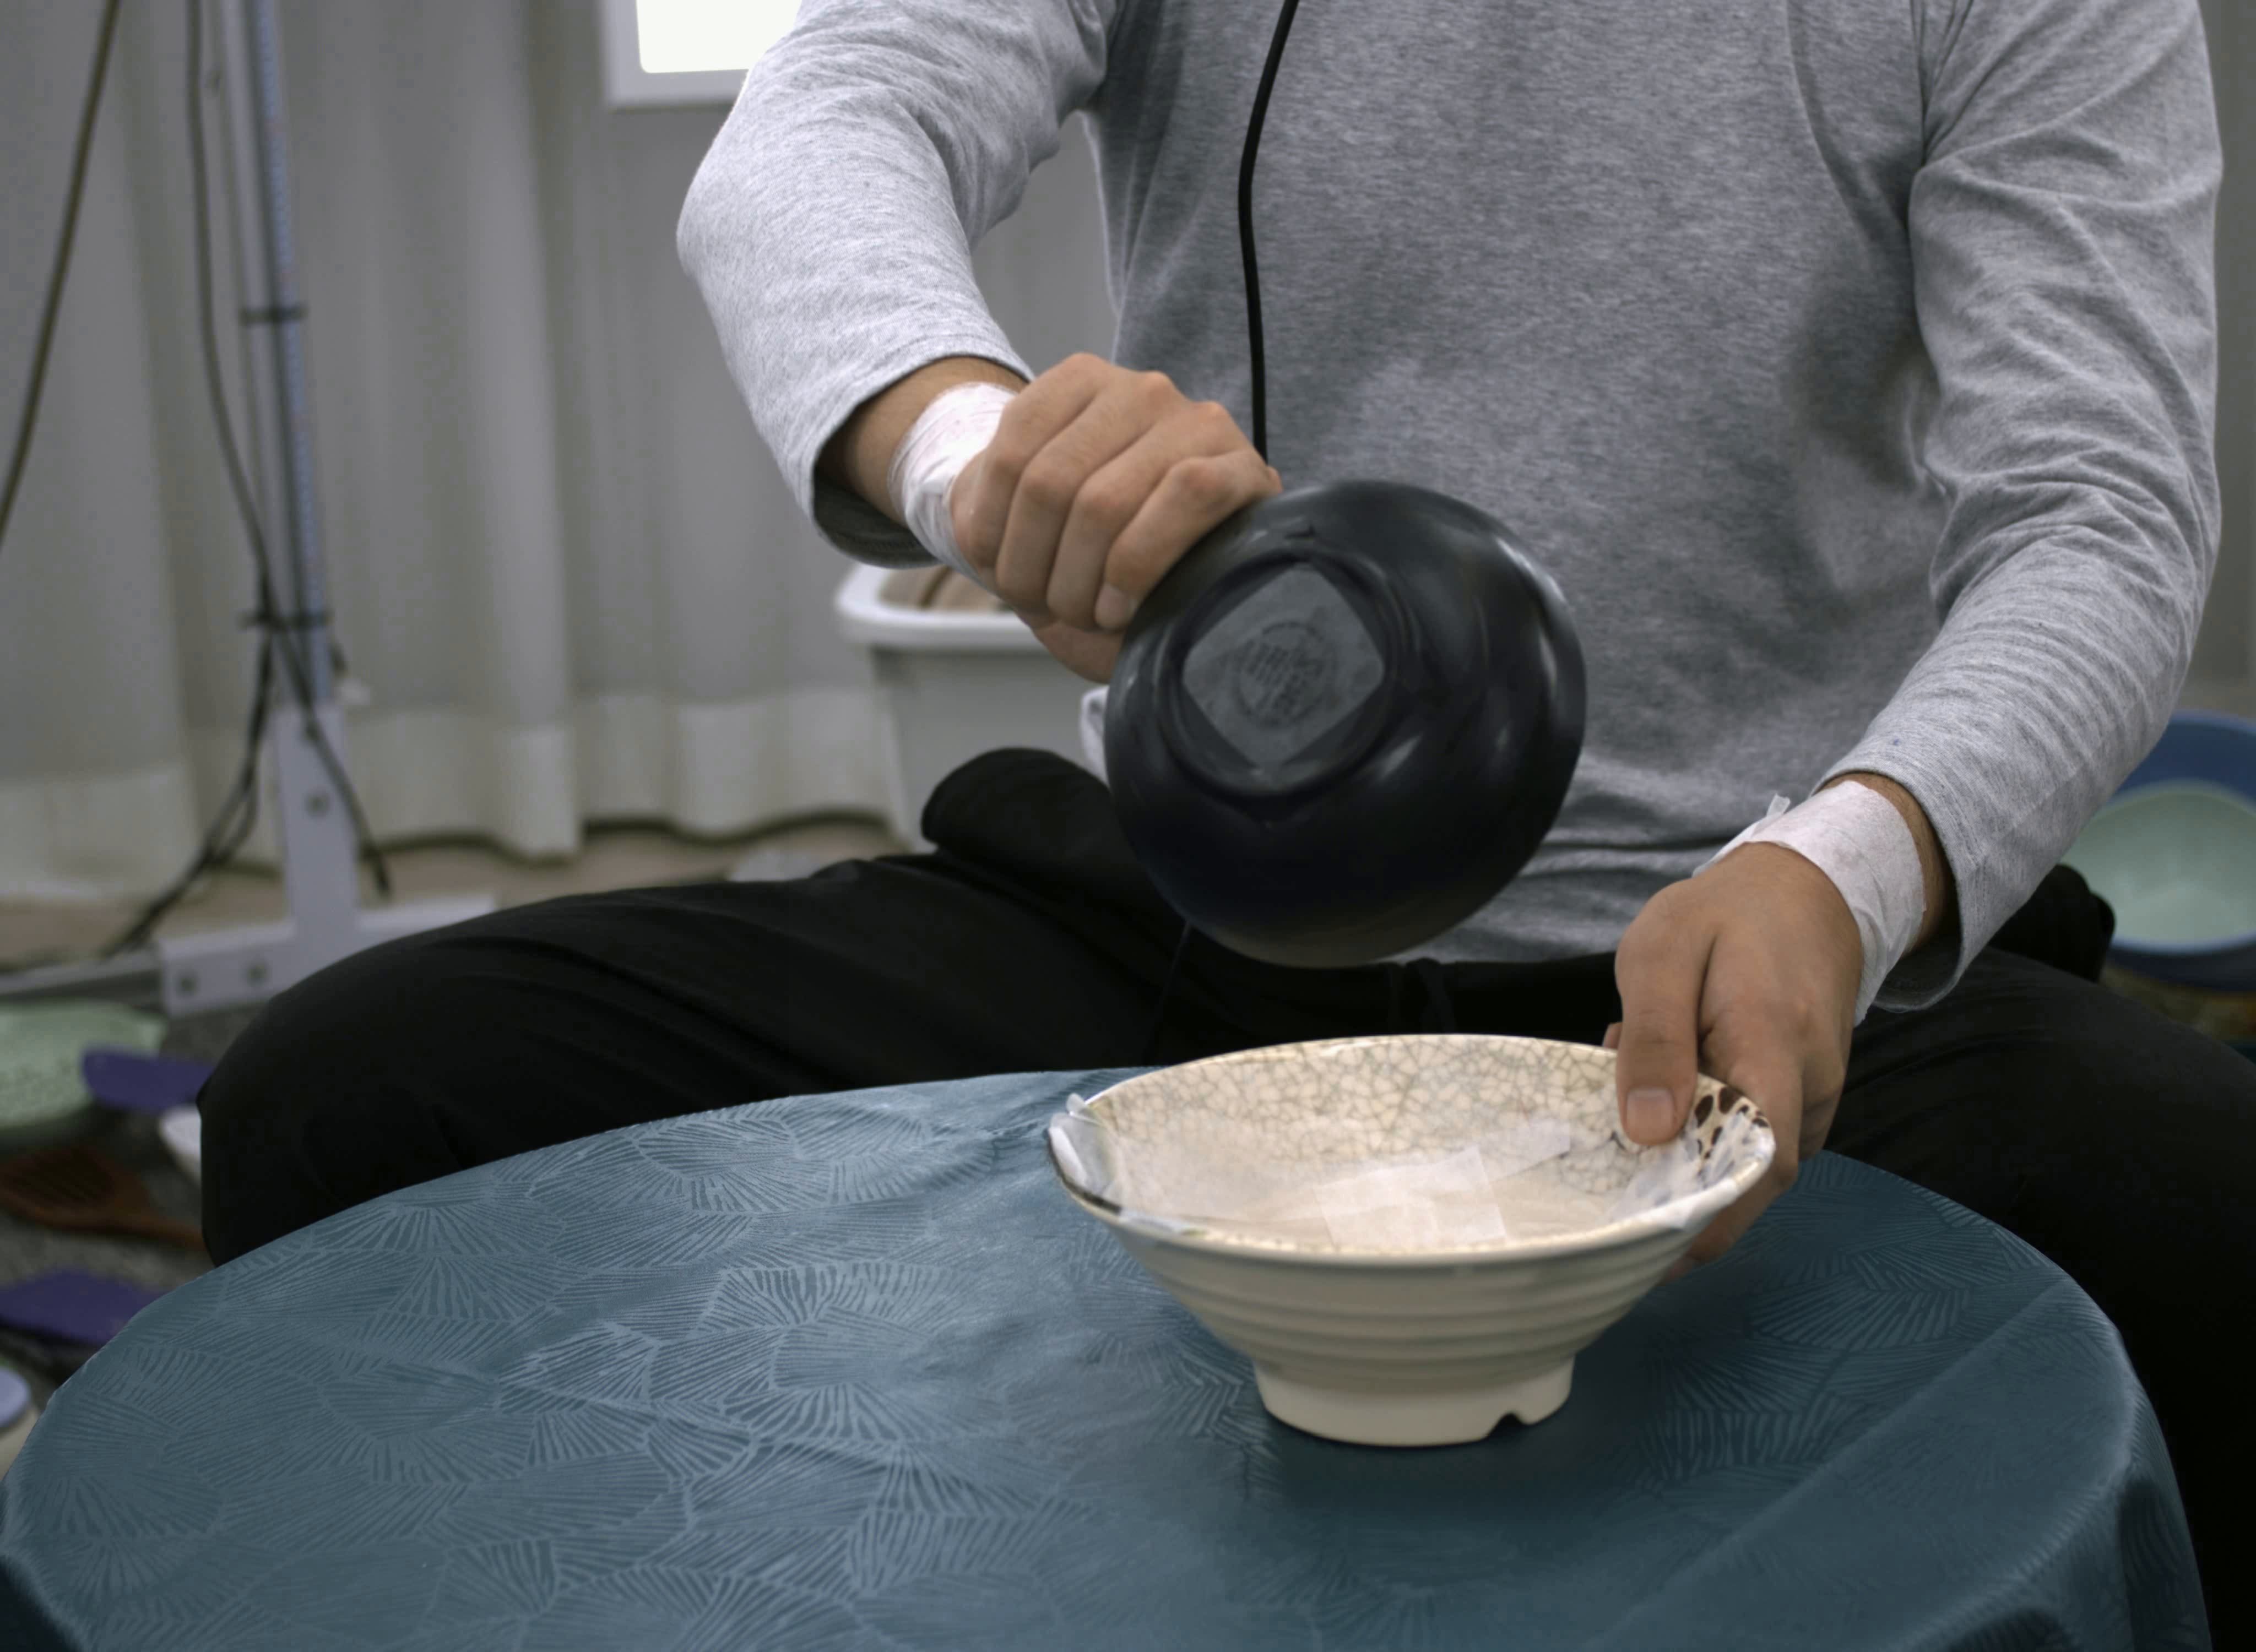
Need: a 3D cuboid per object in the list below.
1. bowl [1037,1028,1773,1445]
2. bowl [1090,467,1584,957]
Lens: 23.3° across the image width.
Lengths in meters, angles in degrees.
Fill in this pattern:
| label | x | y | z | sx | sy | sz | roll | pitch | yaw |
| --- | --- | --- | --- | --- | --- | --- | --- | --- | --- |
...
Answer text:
| label | x | y | z | sx | sy | sz | roll | pitch | yaw |
| --- | --- | --- | --- | --- | --- | --- | --- | --- | --- |
| bowl | 0.077 | 0.121 | 1.522 | 0.203 | 0.077 | 0.205 | -1 | 14 | 0 |
| bowl | 0.049 | -0.038 | 1.464 | 0.140 | 0.141 | 0.049 | 4 | -20 | 23 |
